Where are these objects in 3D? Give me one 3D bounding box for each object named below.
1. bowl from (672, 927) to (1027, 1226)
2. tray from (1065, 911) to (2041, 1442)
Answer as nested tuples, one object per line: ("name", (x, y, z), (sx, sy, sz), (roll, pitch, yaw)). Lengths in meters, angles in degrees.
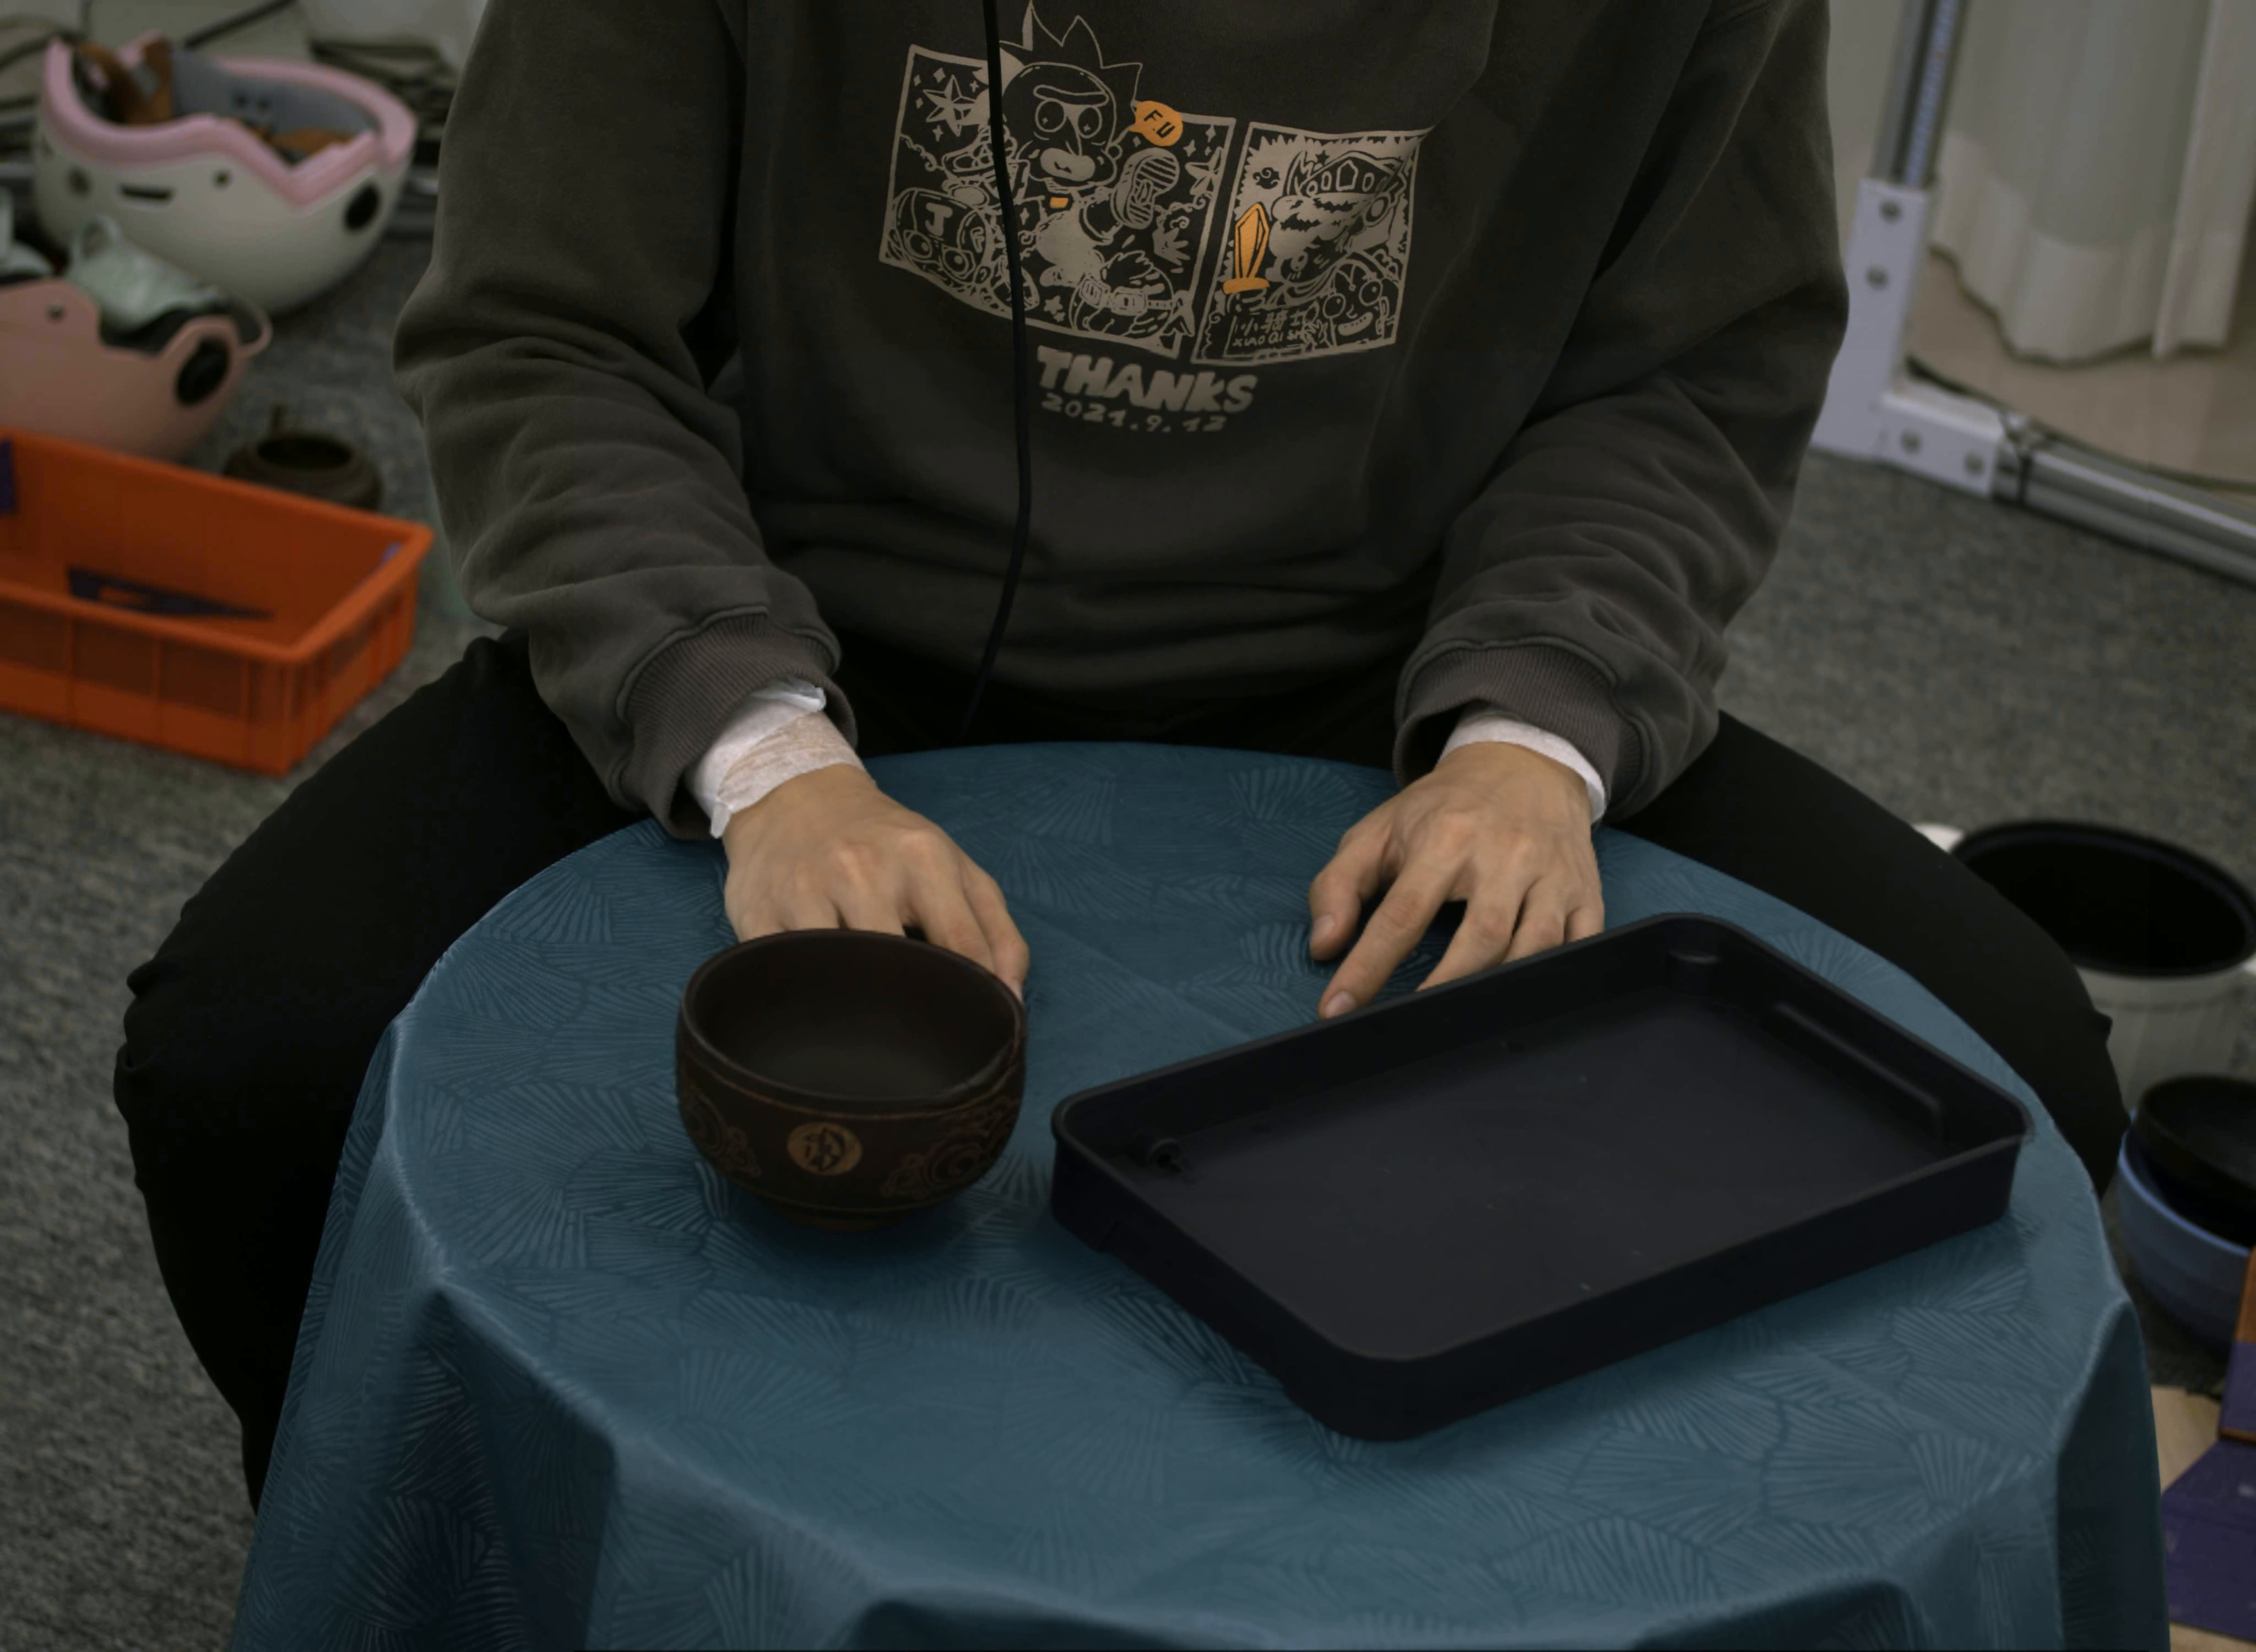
("bowl", (-0.094, 0.090, 1.770), (0.117, 0.069, 0.118), (5, 25, -3))
("tray", (0.146, 0.114, 1.818), (0.316, 0.037, 0.186), (-16, 34, -37))
